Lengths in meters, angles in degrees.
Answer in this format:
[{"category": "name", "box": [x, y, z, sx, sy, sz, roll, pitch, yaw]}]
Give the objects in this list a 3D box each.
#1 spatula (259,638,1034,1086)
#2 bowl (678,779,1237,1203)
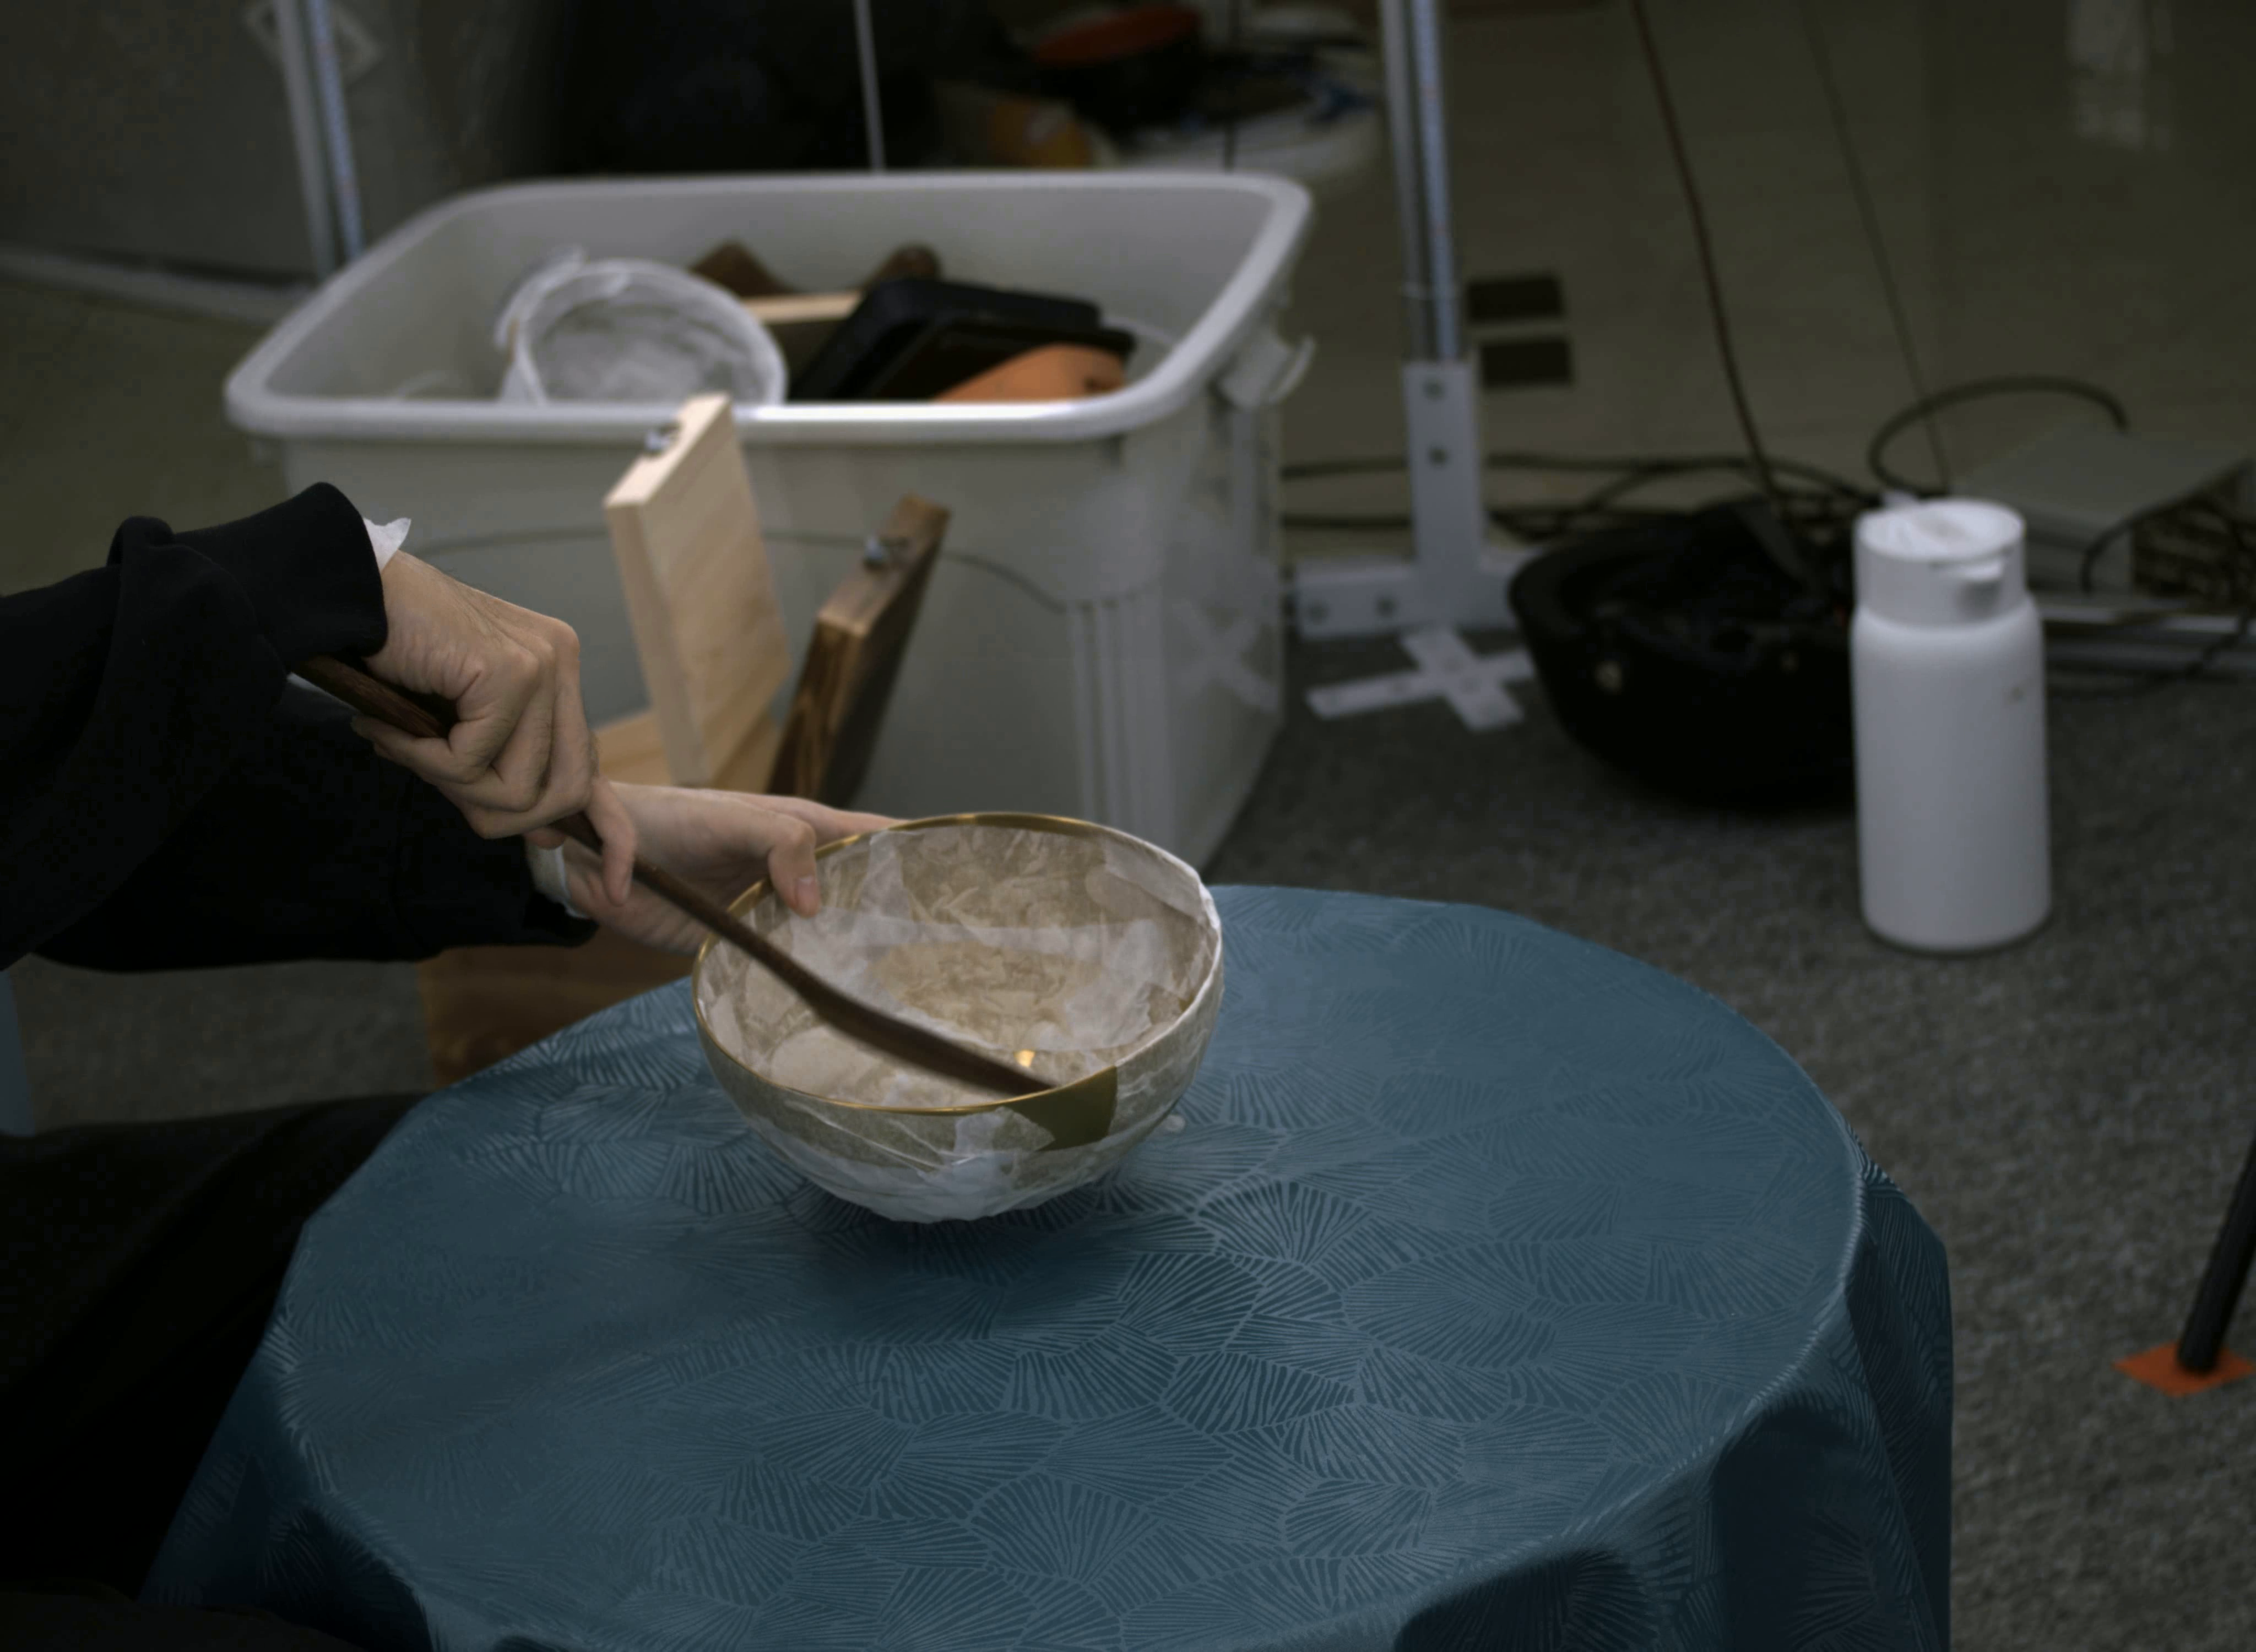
[{"category": "spatula", "box": [-0.167, 0.023, 2.041, 0.095, 0.390, 0.015, 11, 71, 49]}, {"category": "bowl", "box": [-0.067, 0.077, 2.155, 0.214, 0.096, 0.211, 2, 36, -2]}]
